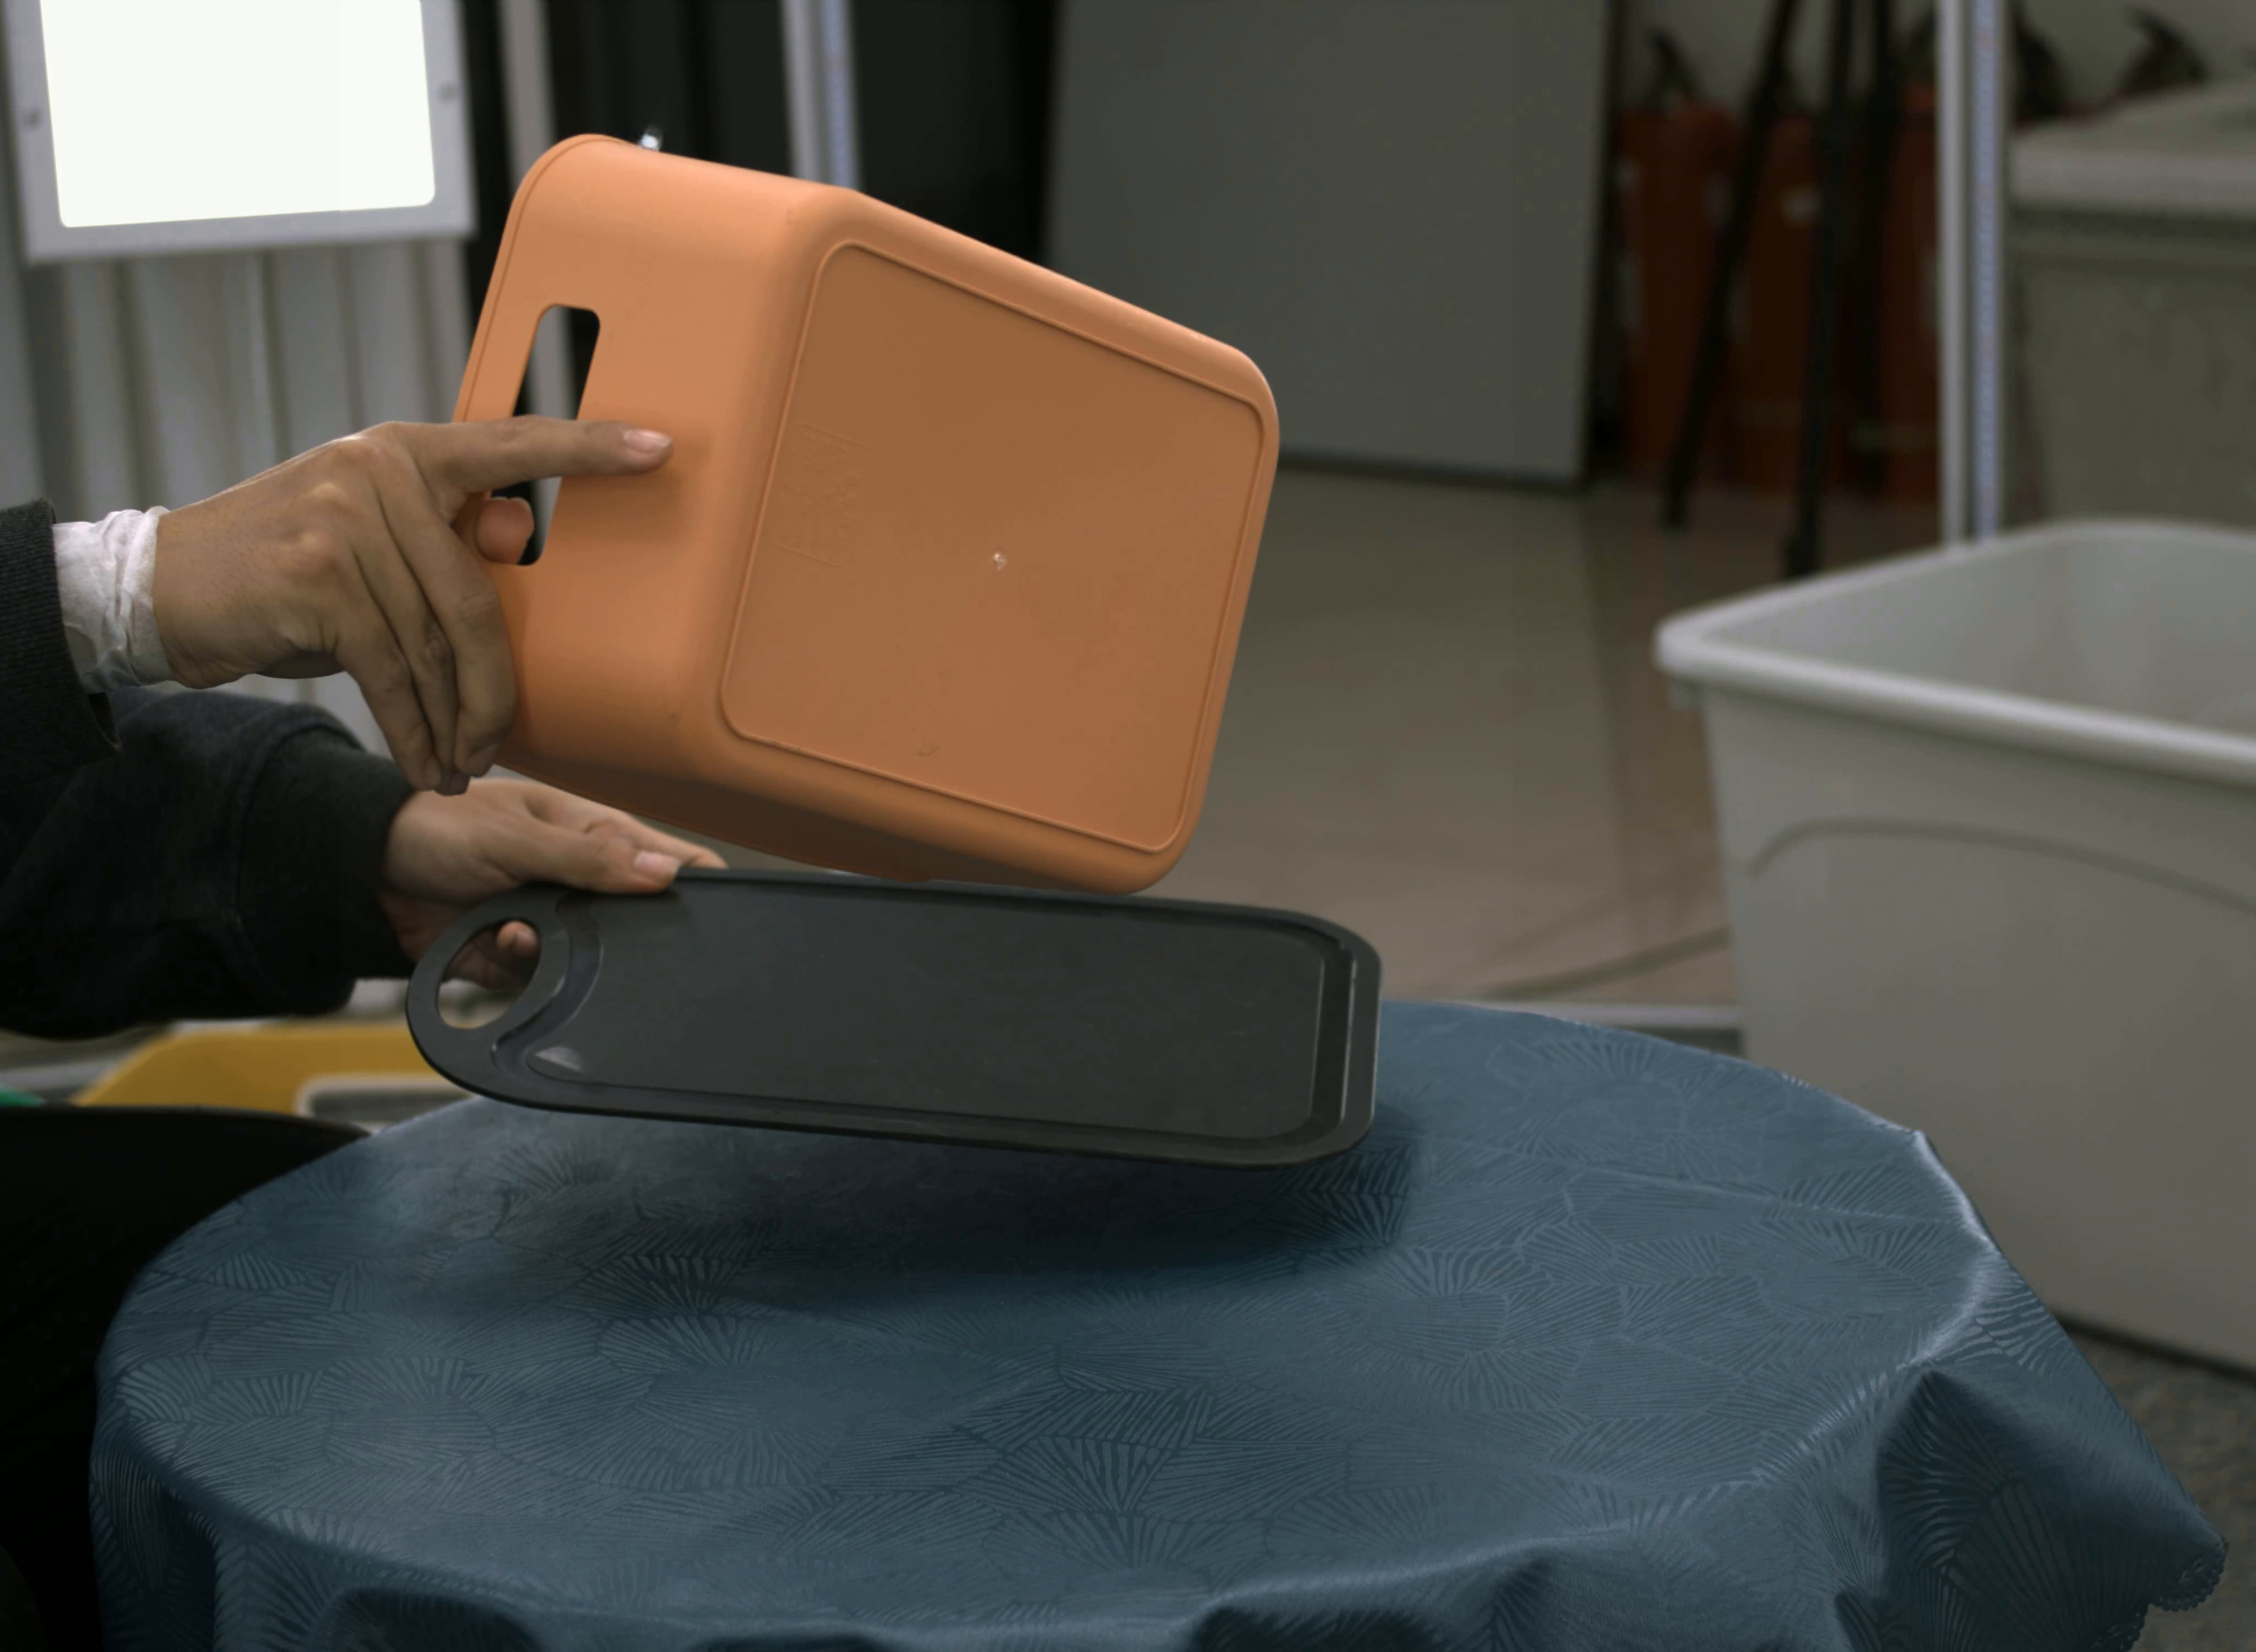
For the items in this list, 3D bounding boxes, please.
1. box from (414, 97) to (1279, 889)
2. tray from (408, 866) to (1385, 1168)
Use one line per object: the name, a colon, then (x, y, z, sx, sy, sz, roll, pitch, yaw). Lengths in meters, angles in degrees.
box: (-0.073, -0.089, 1.602, 0.103, 0.202, 0.268, 9, -6, 40)
tray: (-0.075, 0.059, 1.786, 0.322, 0.010, 0.211, 4, 21, 4)
